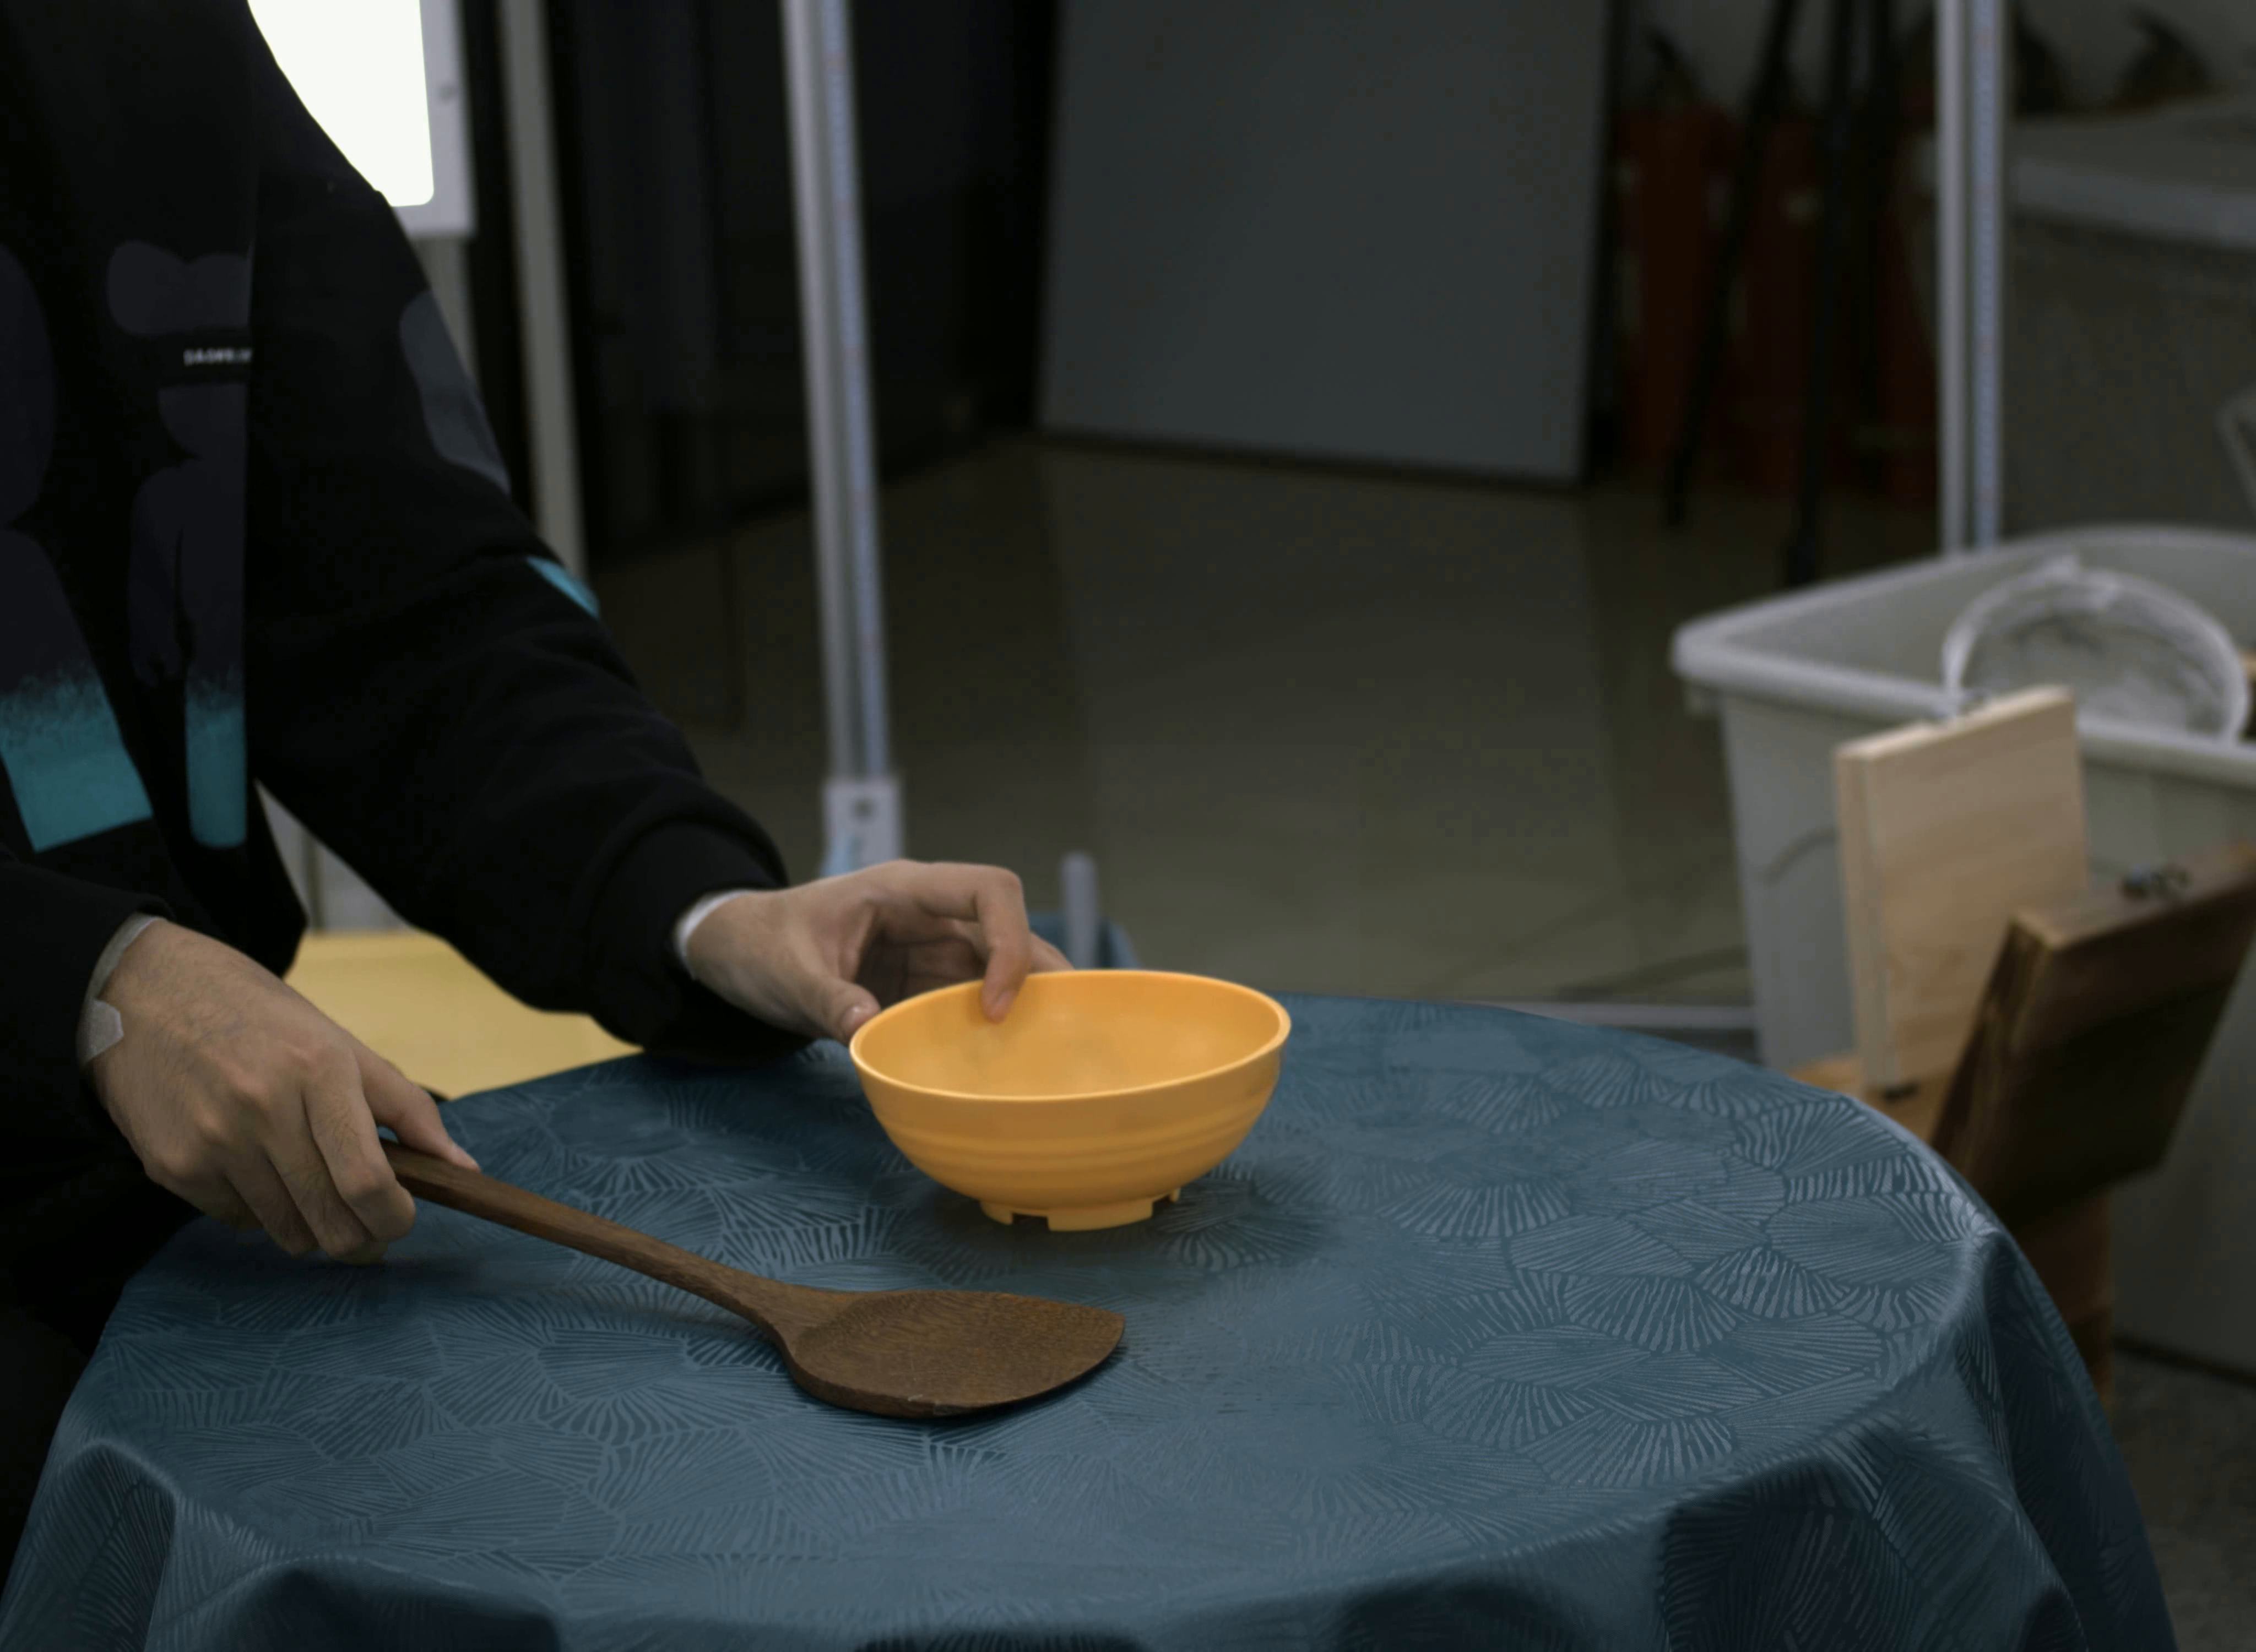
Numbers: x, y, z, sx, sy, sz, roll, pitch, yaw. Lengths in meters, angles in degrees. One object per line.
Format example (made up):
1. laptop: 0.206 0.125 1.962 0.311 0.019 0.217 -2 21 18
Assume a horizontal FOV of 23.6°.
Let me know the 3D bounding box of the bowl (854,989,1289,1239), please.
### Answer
1. bowl: -0.017 0.097 1.757 0.143 0.061 0.145 -4 11 0

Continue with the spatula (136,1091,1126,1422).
1. spatula: -0.171 0.130 1.698 0.388 0.016 0.094 14 21 34
